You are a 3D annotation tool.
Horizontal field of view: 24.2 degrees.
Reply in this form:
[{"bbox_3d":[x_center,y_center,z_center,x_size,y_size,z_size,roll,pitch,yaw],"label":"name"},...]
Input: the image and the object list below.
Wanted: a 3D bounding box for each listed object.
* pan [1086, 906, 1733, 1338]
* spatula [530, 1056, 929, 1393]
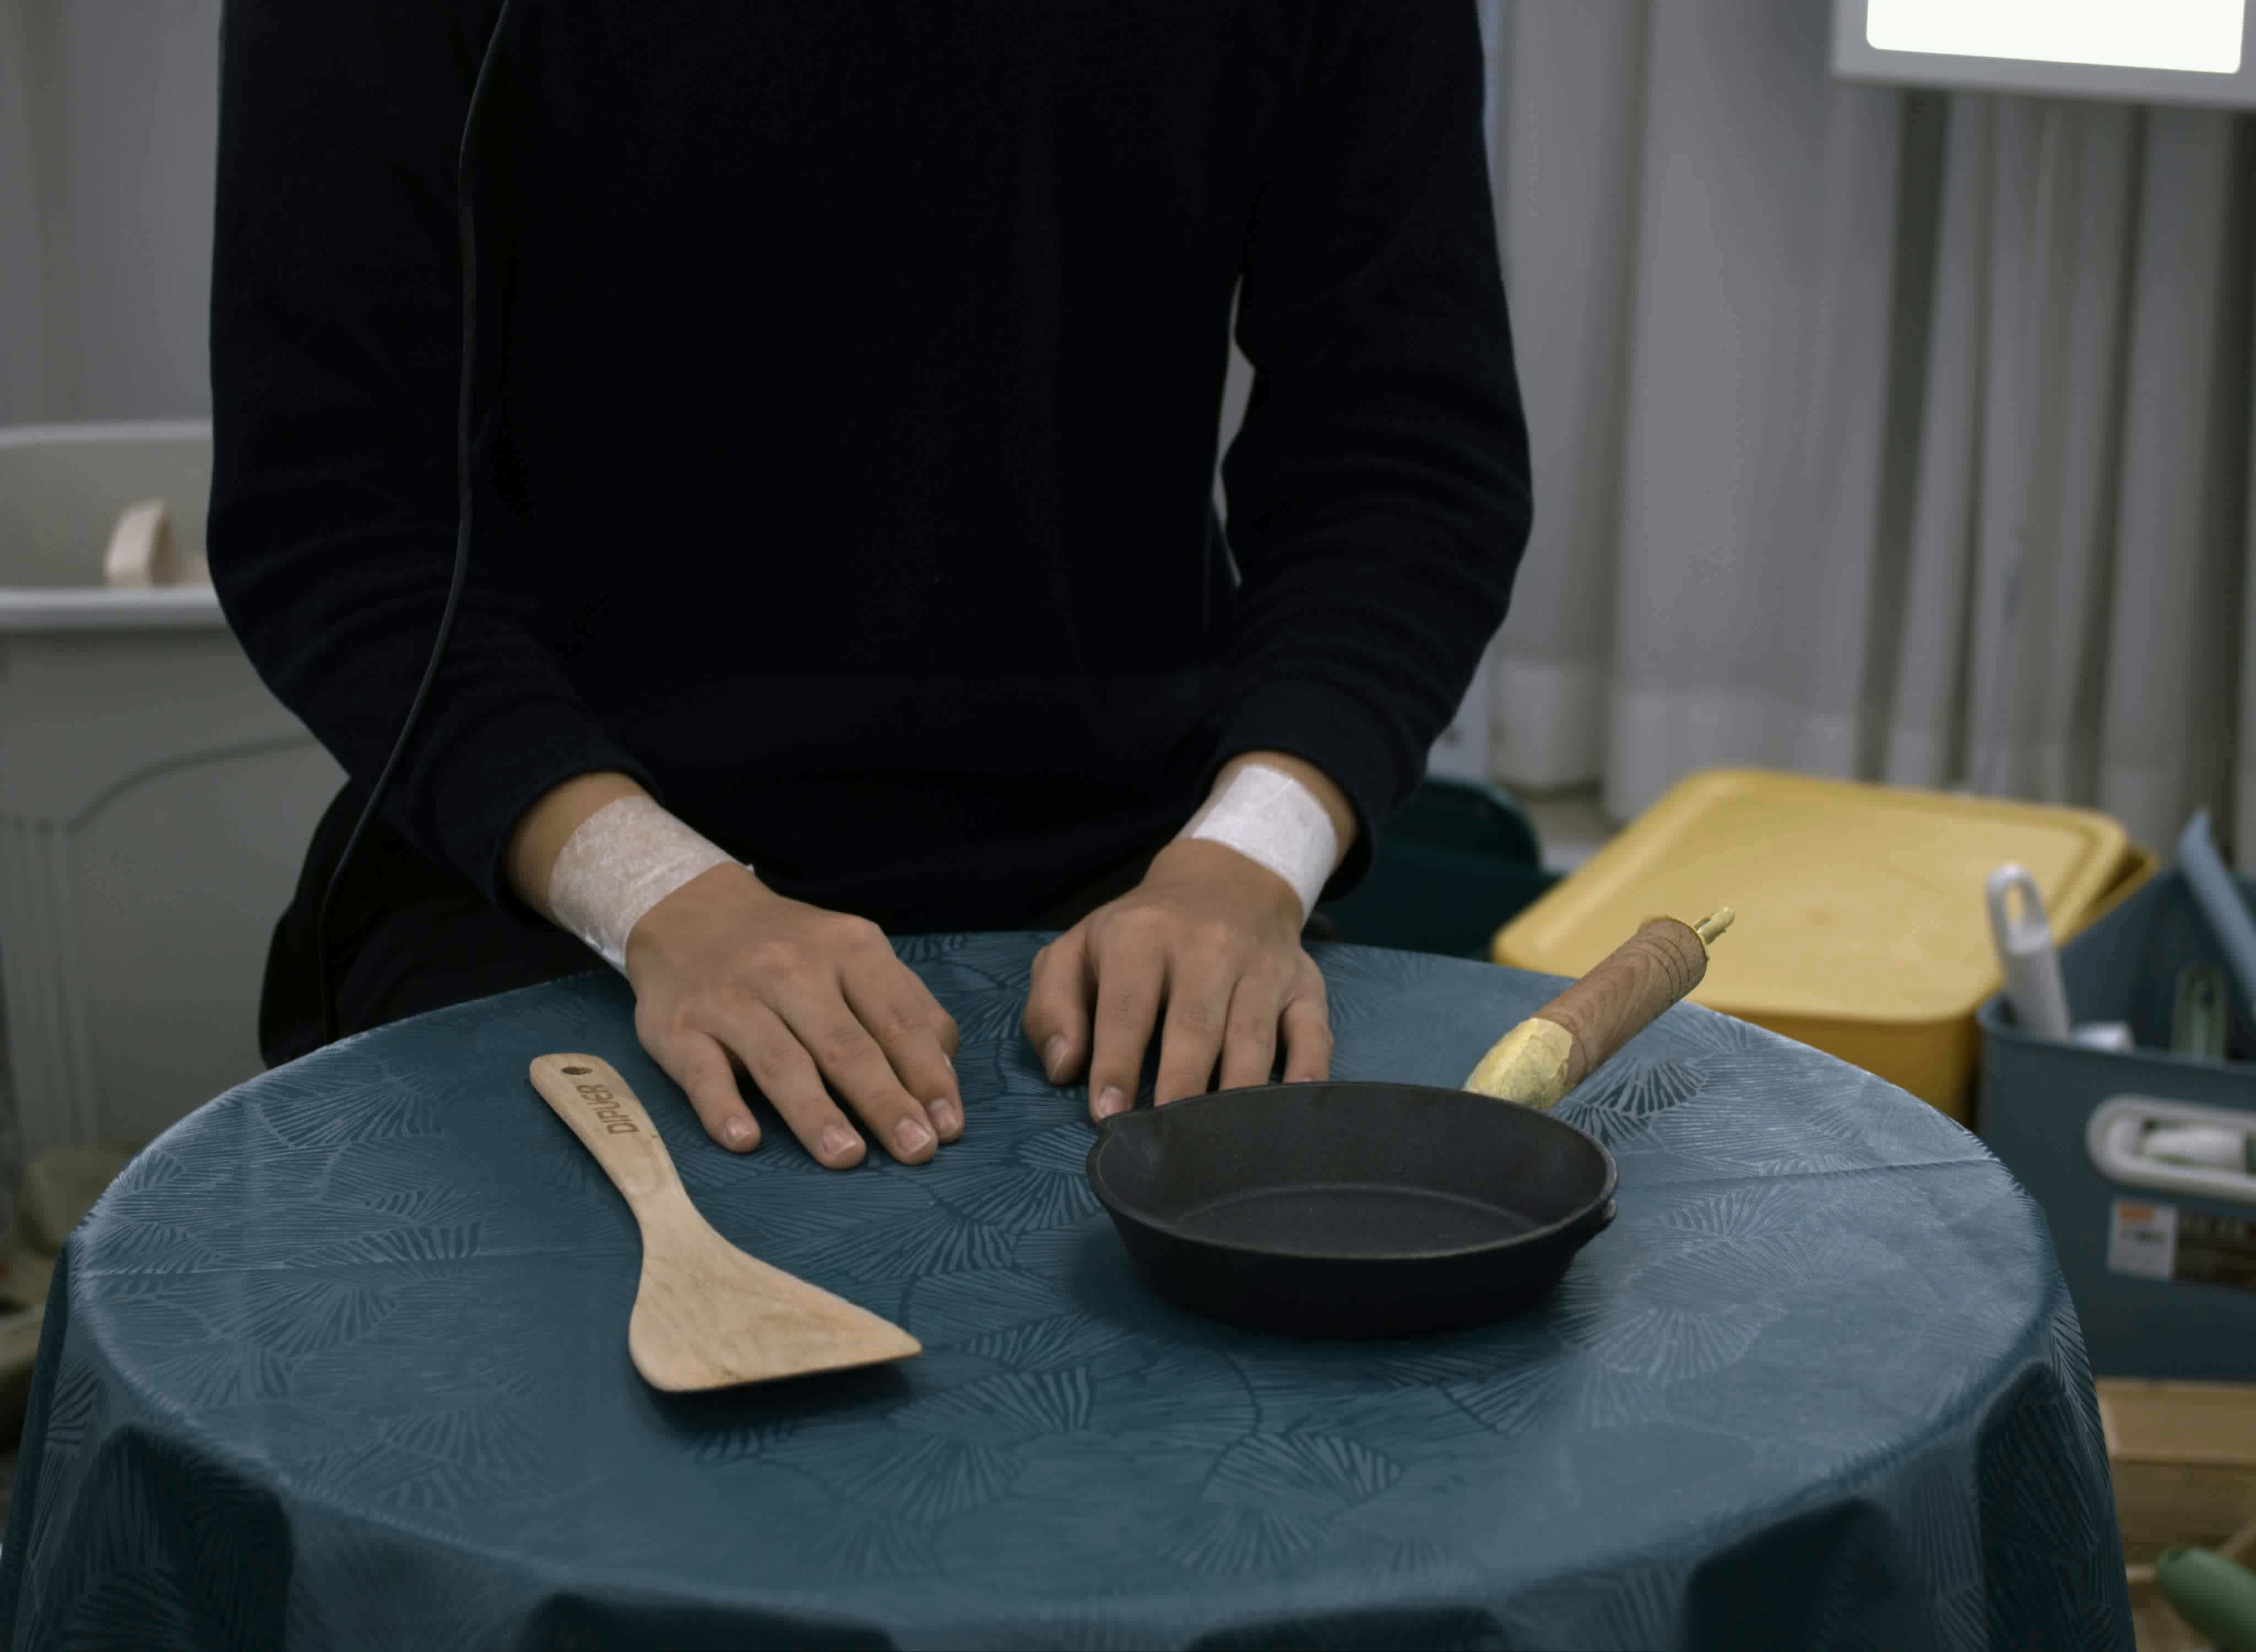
[{"bbox_3d":[0.111,0.087,1.622,0.167,0.050,0.325,10,20,31],"label":"pan"},{"bbox_3d":[-0.136,0.115,1.579,0.080,0.016,0.324,-4,16,-17],"label":"spatula"}]
